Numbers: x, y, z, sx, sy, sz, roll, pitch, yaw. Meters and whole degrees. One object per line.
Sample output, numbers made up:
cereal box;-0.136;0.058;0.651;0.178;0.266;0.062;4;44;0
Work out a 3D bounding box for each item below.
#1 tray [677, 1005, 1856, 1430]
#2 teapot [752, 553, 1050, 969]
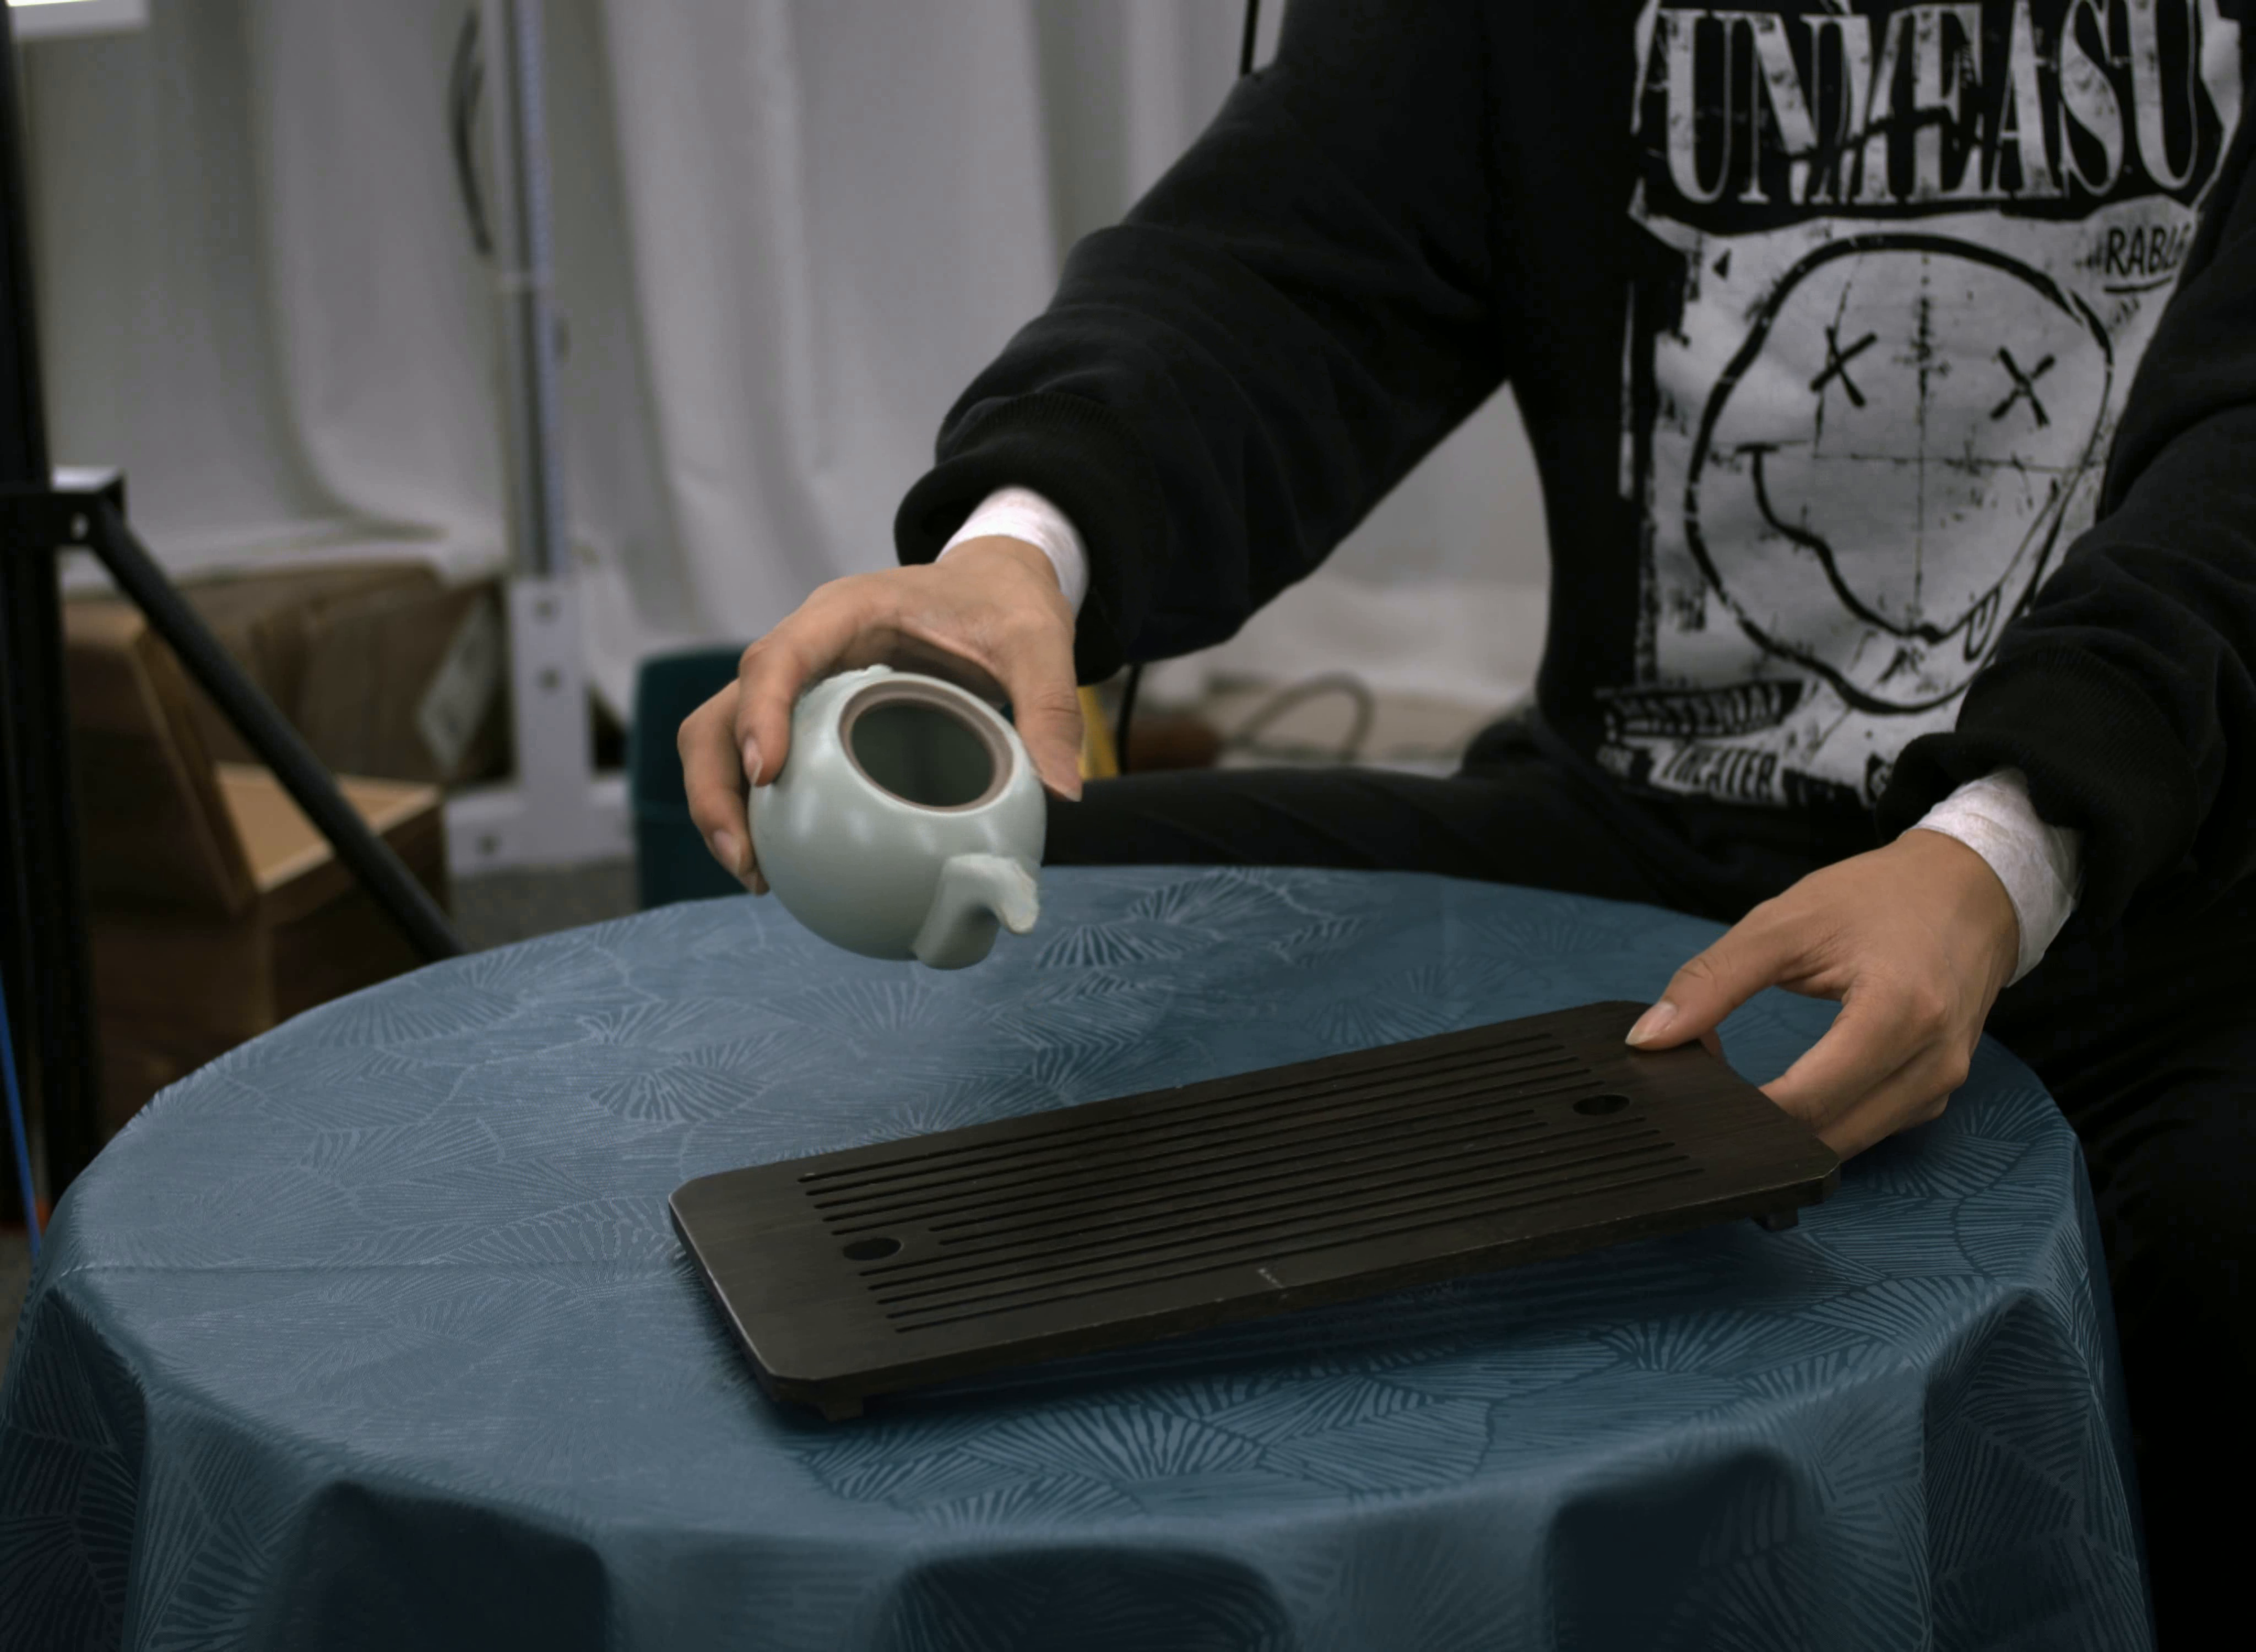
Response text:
tray;0.036;0.107;1.482;0.302;0.018;0.172;-10;17;-11
teapot;-0.066;-0.005;1.558;0.086;0.075;0.146;-5;53;-29
